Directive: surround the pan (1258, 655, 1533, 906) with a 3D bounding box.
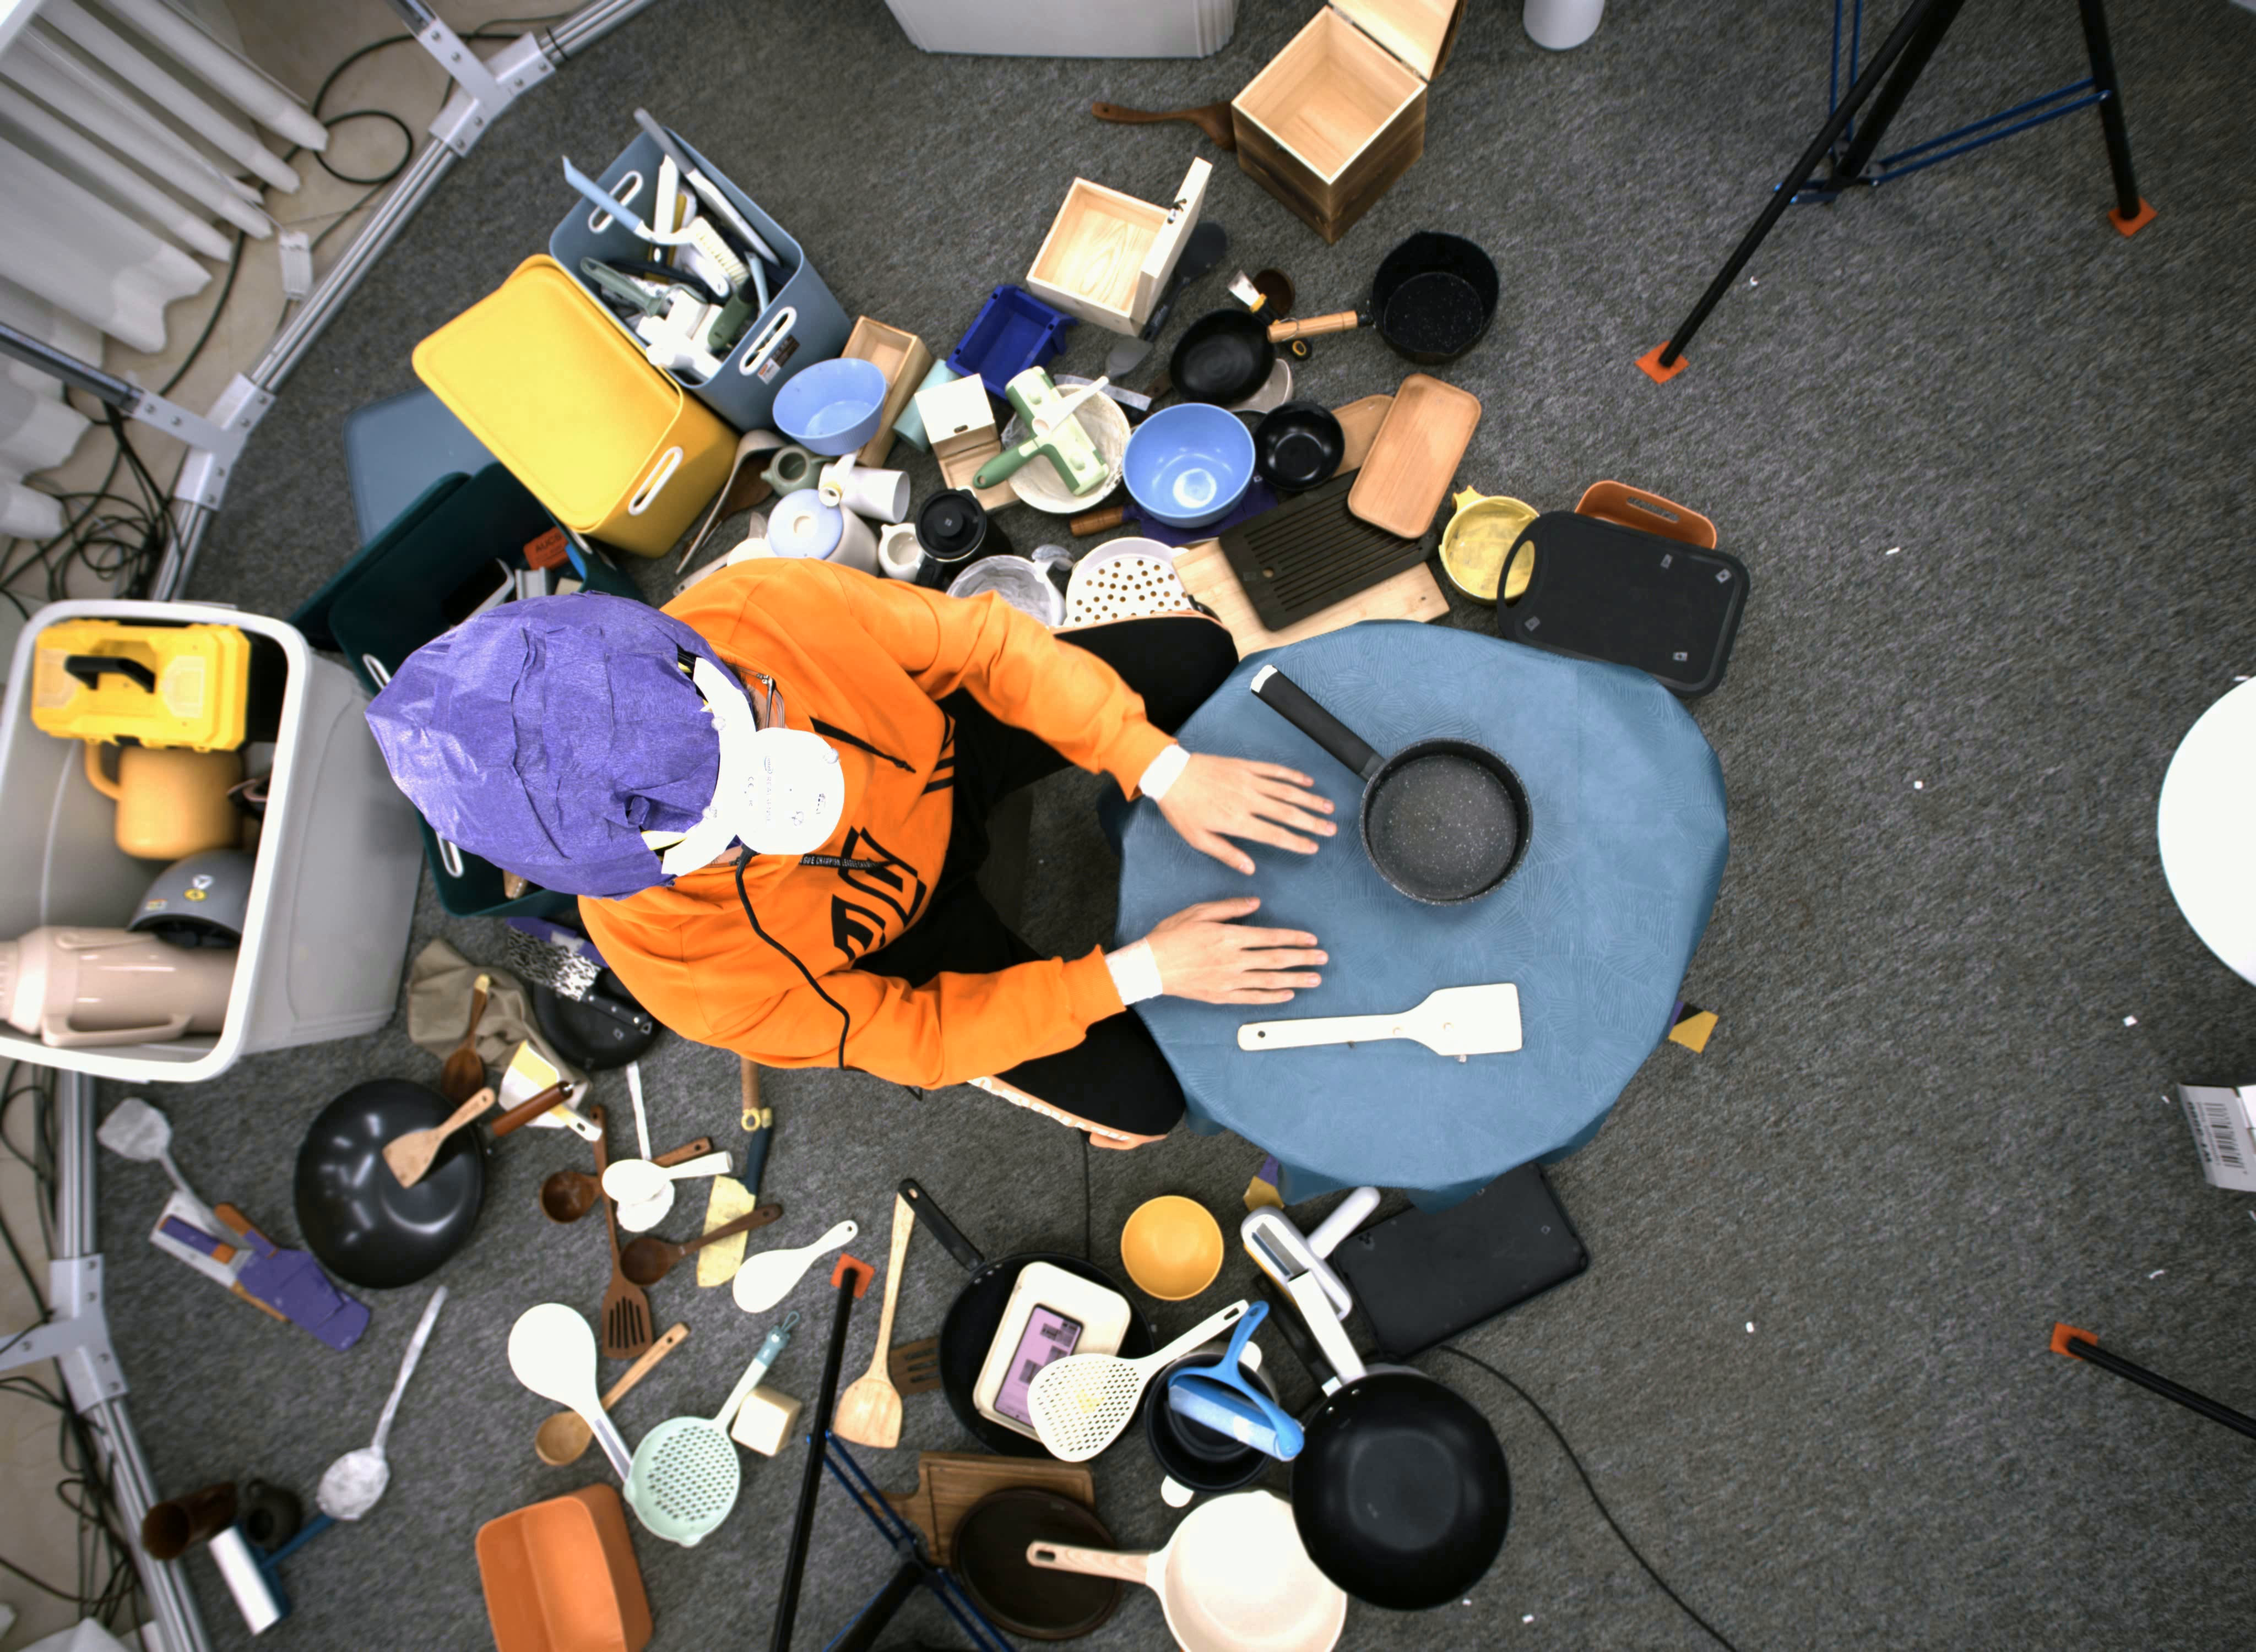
[{"bbox_3d":[0.266,-0.055,1.425,0.327,0.086,0.172,42,93,8],"label":"pan"}]

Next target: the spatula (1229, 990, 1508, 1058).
[{"bbox_3d":[0.253,0.213,1.463,0.294,0.010,0.072,-3,95,6],"label":"spatula"}]
